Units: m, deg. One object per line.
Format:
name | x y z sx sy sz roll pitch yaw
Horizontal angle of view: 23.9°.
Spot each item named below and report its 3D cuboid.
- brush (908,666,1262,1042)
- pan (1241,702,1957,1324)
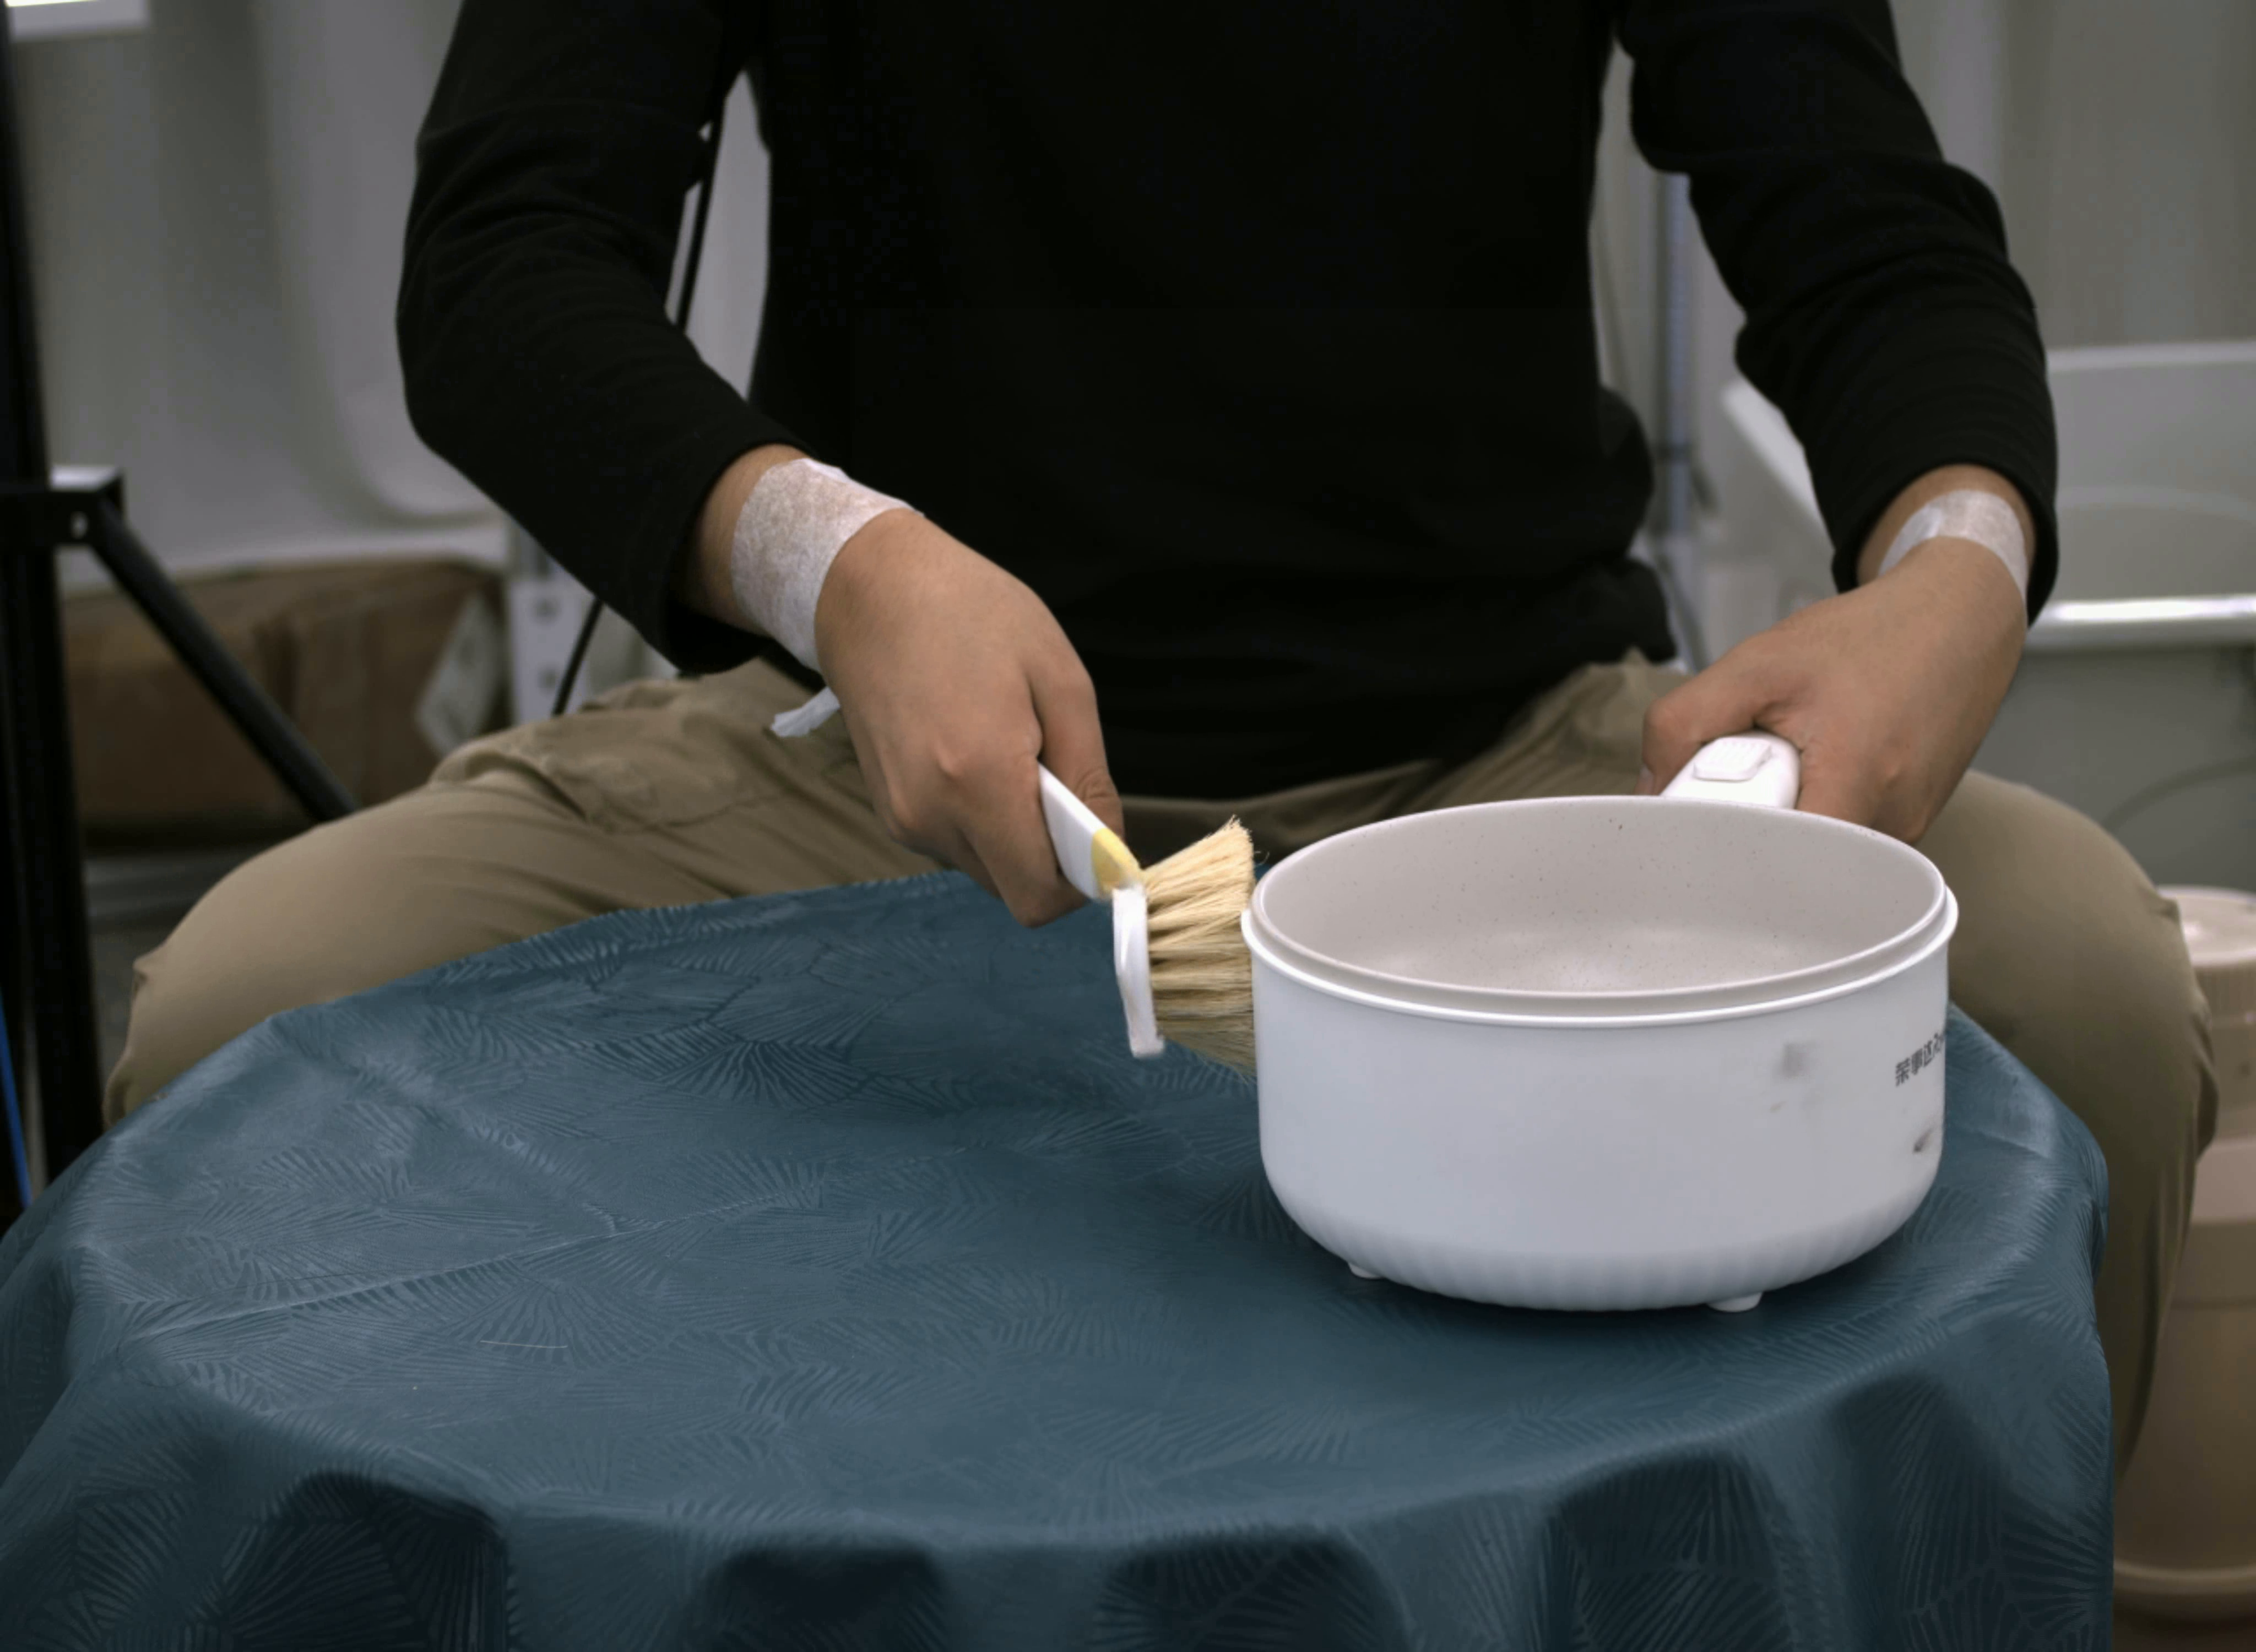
brush | -0.010 -0.003 1.620 0.055 0.068 0.271 -10 21 -13
pan | 0.160 0.051 1.565 0.204 0.102 0.350 1 15 21
